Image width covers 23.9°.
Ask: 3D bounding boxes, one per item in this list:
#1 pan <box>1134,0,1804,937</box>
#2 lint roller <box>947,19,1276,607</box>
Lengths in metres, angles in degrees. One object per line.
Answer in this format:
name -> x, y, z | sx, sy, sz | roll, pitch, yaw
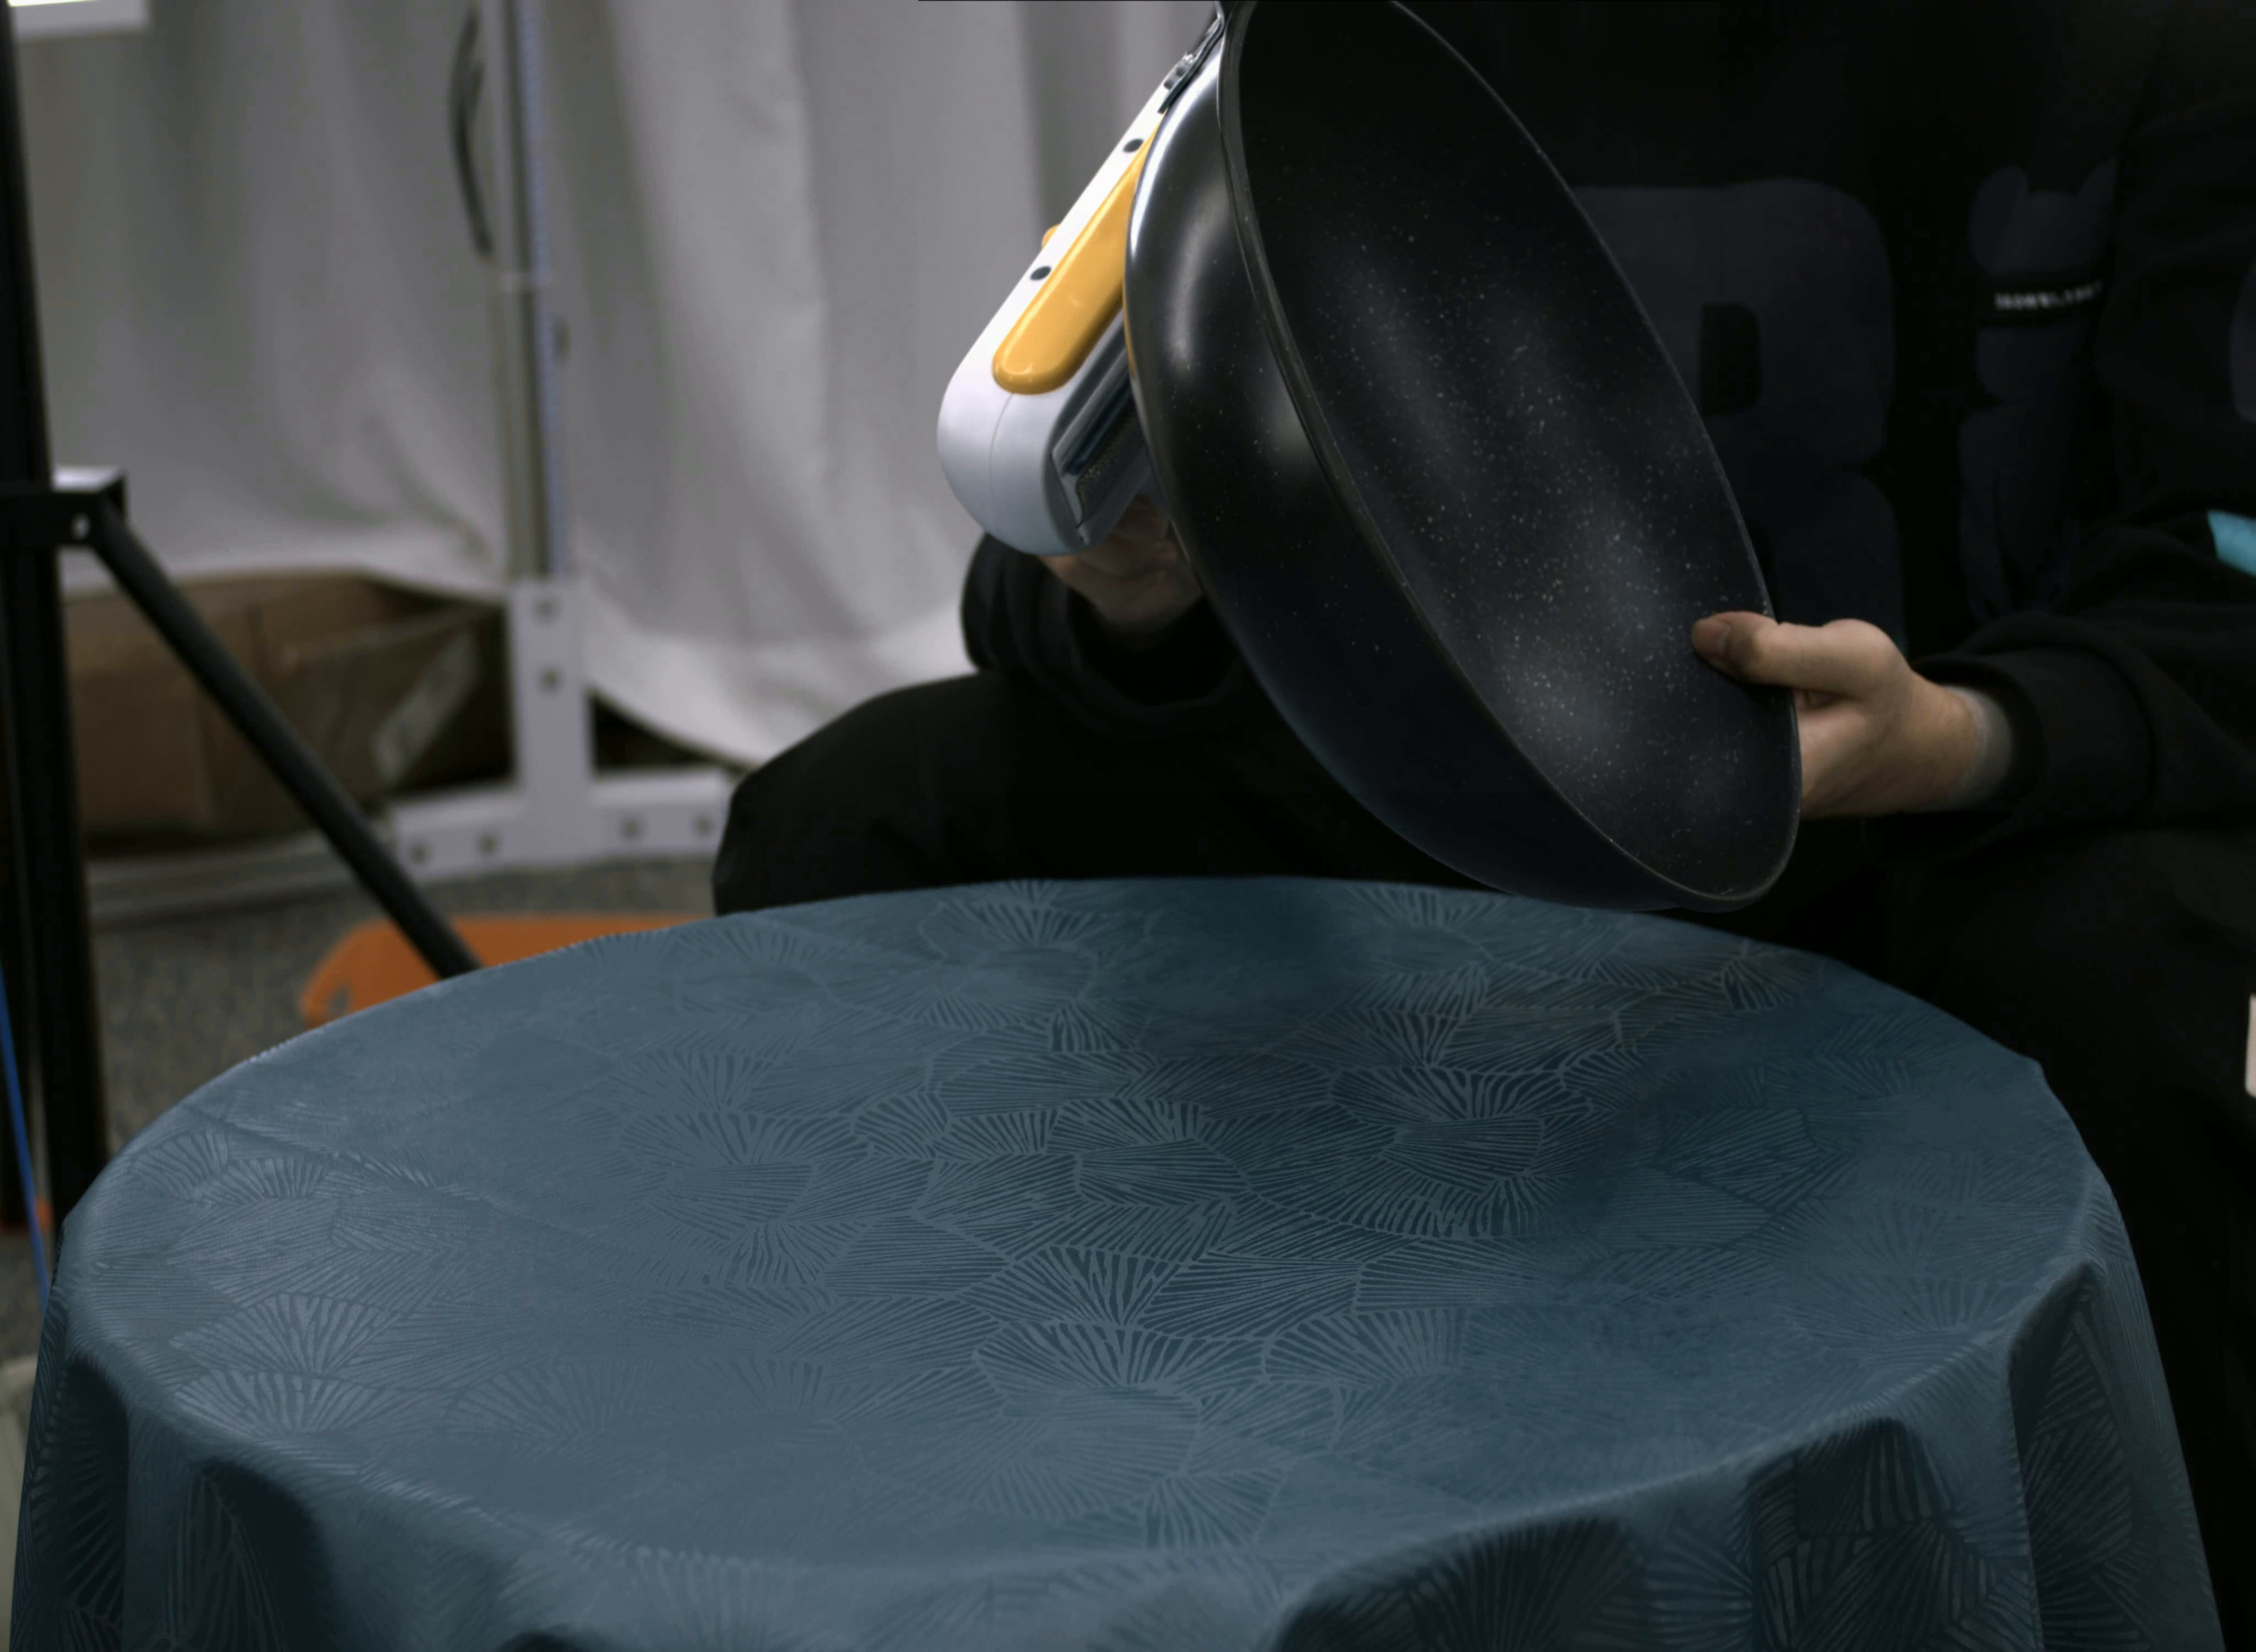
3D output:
pan -> 0.054, -0.168, 1.562 | 0.113, 0.474, 0.308 | -27, 12, 23
lint roller -> 0.006, -0.139, 1.725 | 0.075, 0.190, 0.192 | 18, 56, 19
